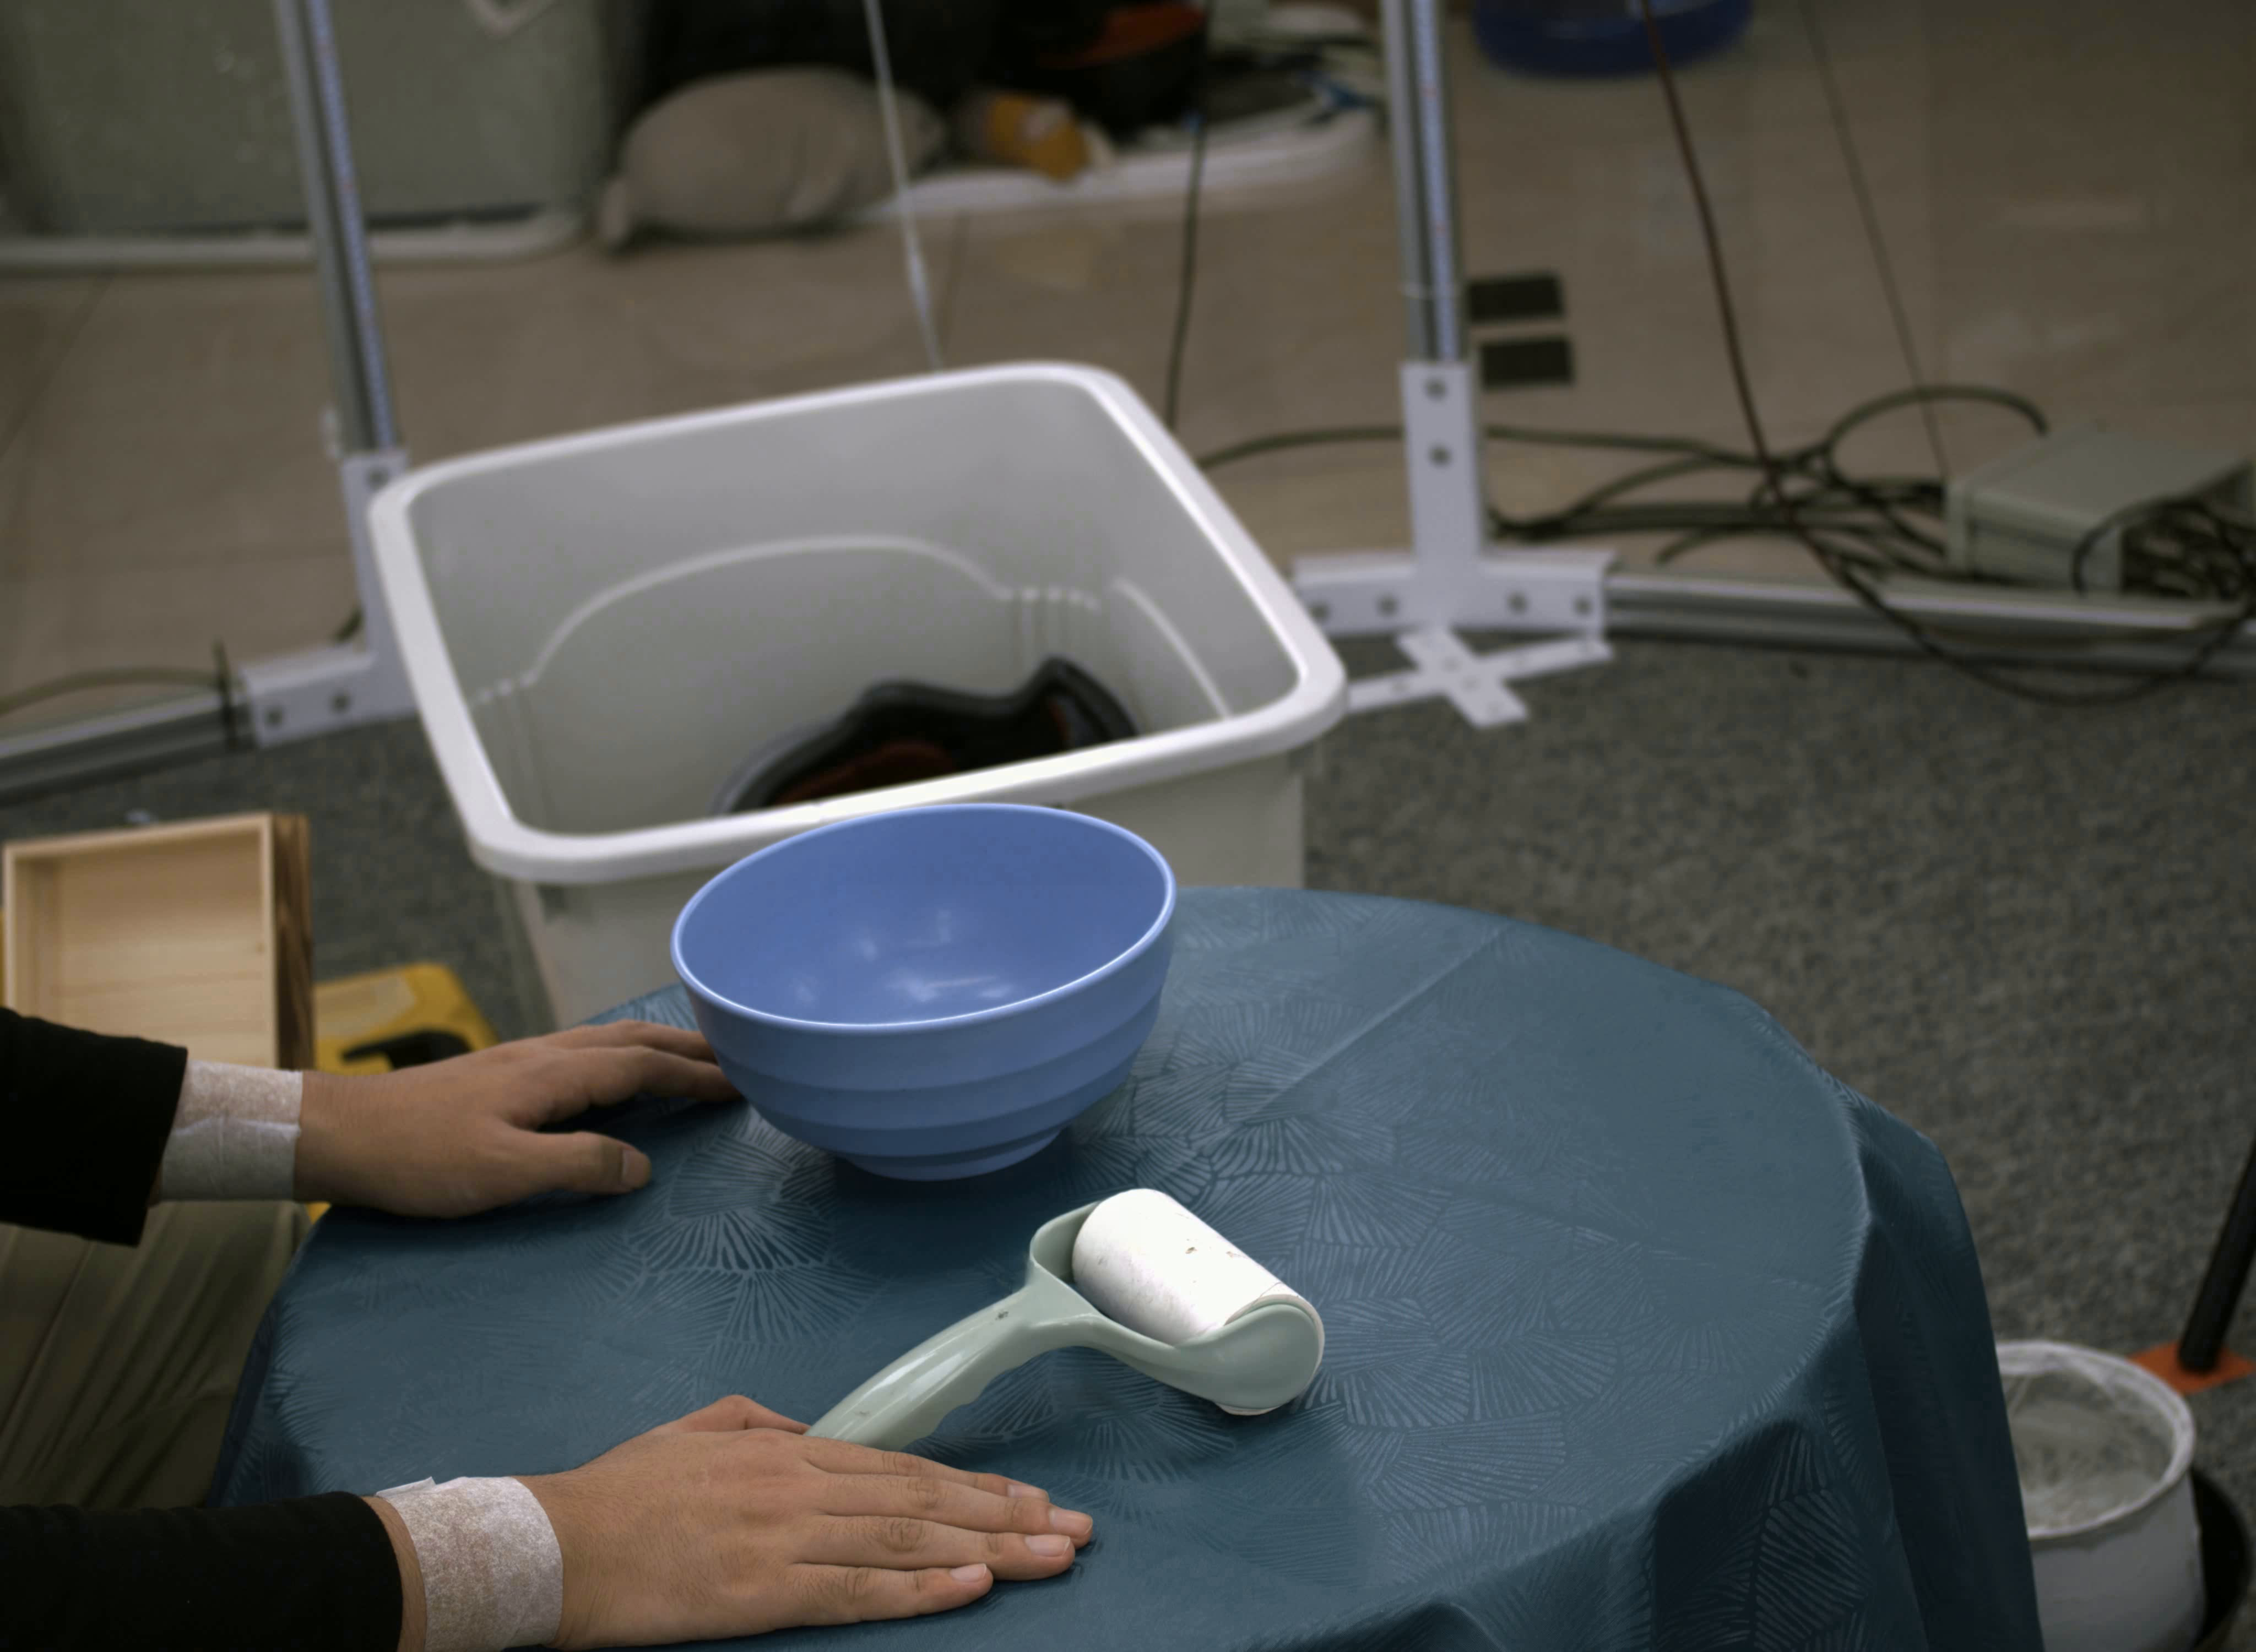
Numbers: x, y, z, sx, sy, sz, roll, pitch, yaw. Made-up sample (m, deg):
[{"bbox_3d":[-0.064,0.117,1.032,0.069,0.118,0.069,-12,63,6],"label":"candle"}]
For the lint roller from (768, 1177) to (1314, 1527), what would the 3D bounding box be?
[{"bbox_3d":[-0.043,0.189,2.000,0.196,0.049,0.115,-20,29,-23],"label":"lint roller"}]

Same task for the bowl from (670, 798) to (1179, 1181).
[{"bbox_3d":[-0.074,0.074,2.191,0.196,0.097,0.193,-5,26,2],"label":"bowl"}]
